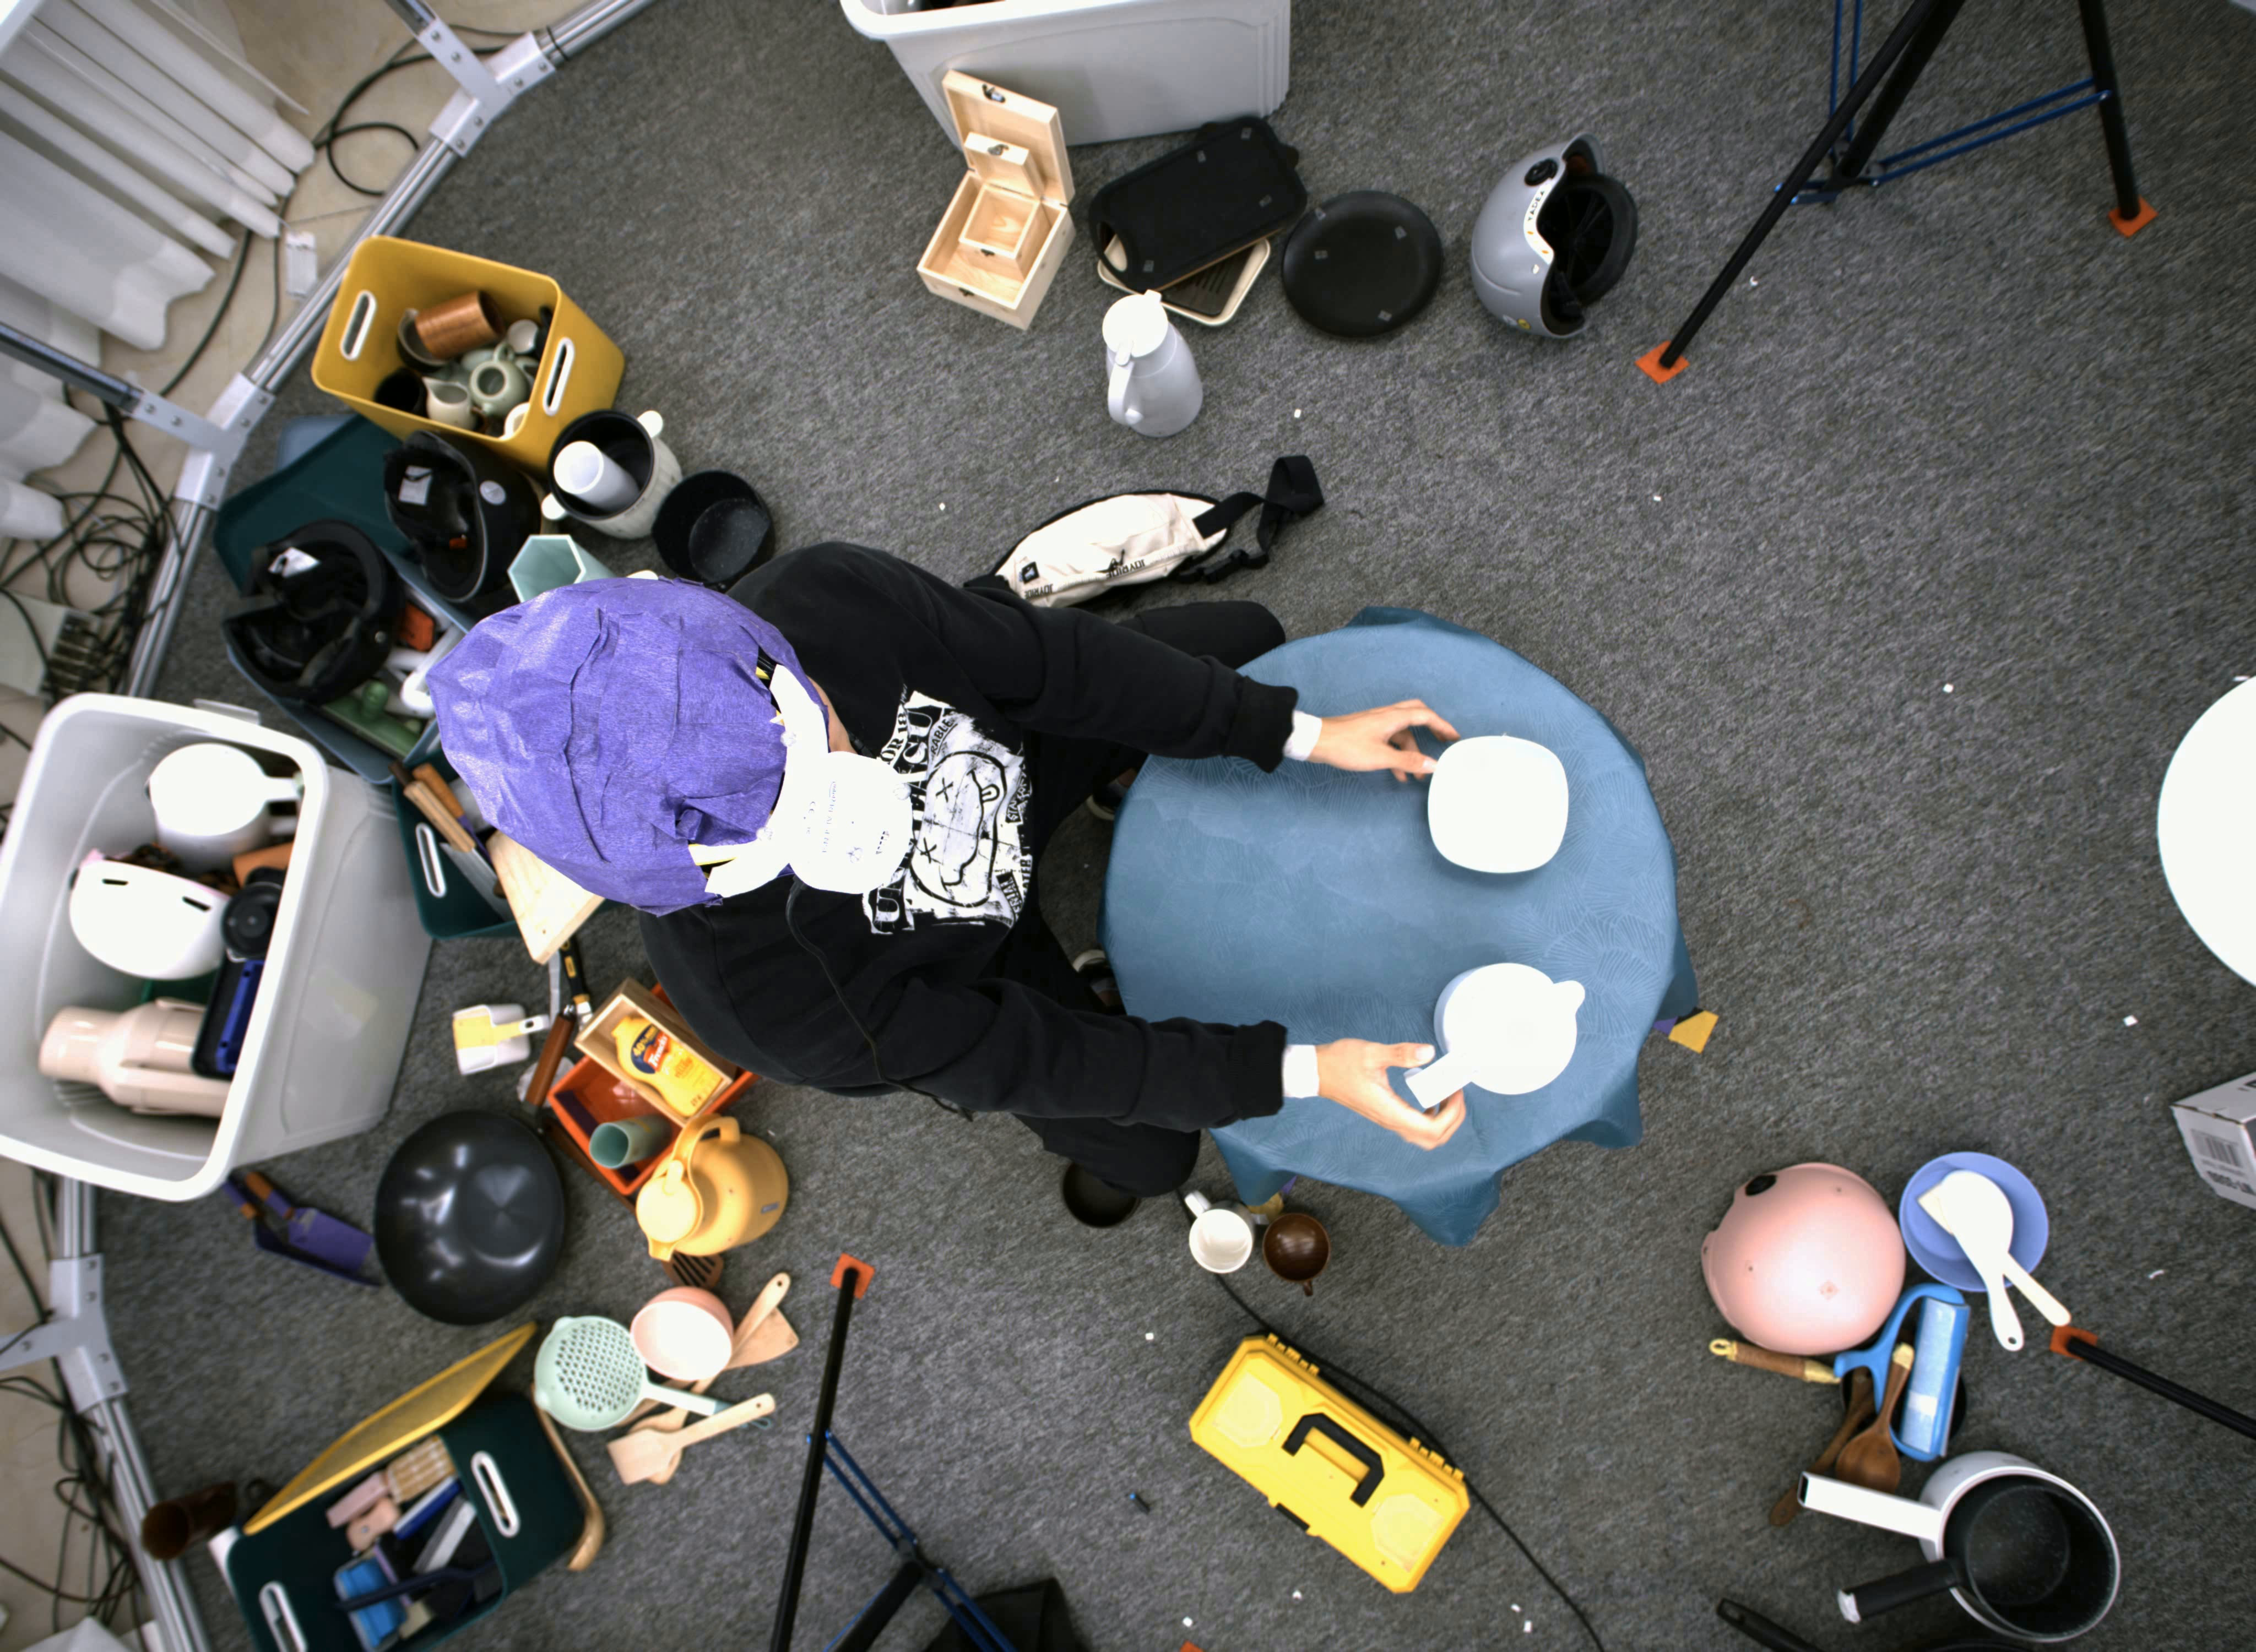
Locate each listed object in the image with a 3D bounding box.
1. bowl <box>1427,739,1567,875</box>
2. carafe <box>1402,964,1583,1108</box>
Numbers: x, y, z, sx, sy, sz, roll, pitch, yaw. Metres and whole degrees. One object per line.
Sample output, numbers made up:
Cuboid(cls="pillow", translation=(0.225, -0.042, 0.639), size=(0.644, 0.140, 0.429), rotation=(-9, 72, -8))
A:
Cuboid(cls="bowl", translation=(0.378, -0.019, 1.418), size=(0.152, 0.058, 0.151), rotation=(-1, 86, 11))
Cuboid(cls="carafe", translation=(0.340, 0.199, 1.306), size=(0.174, 0.269, 0.123), rotation=(-36, 82, 6))
